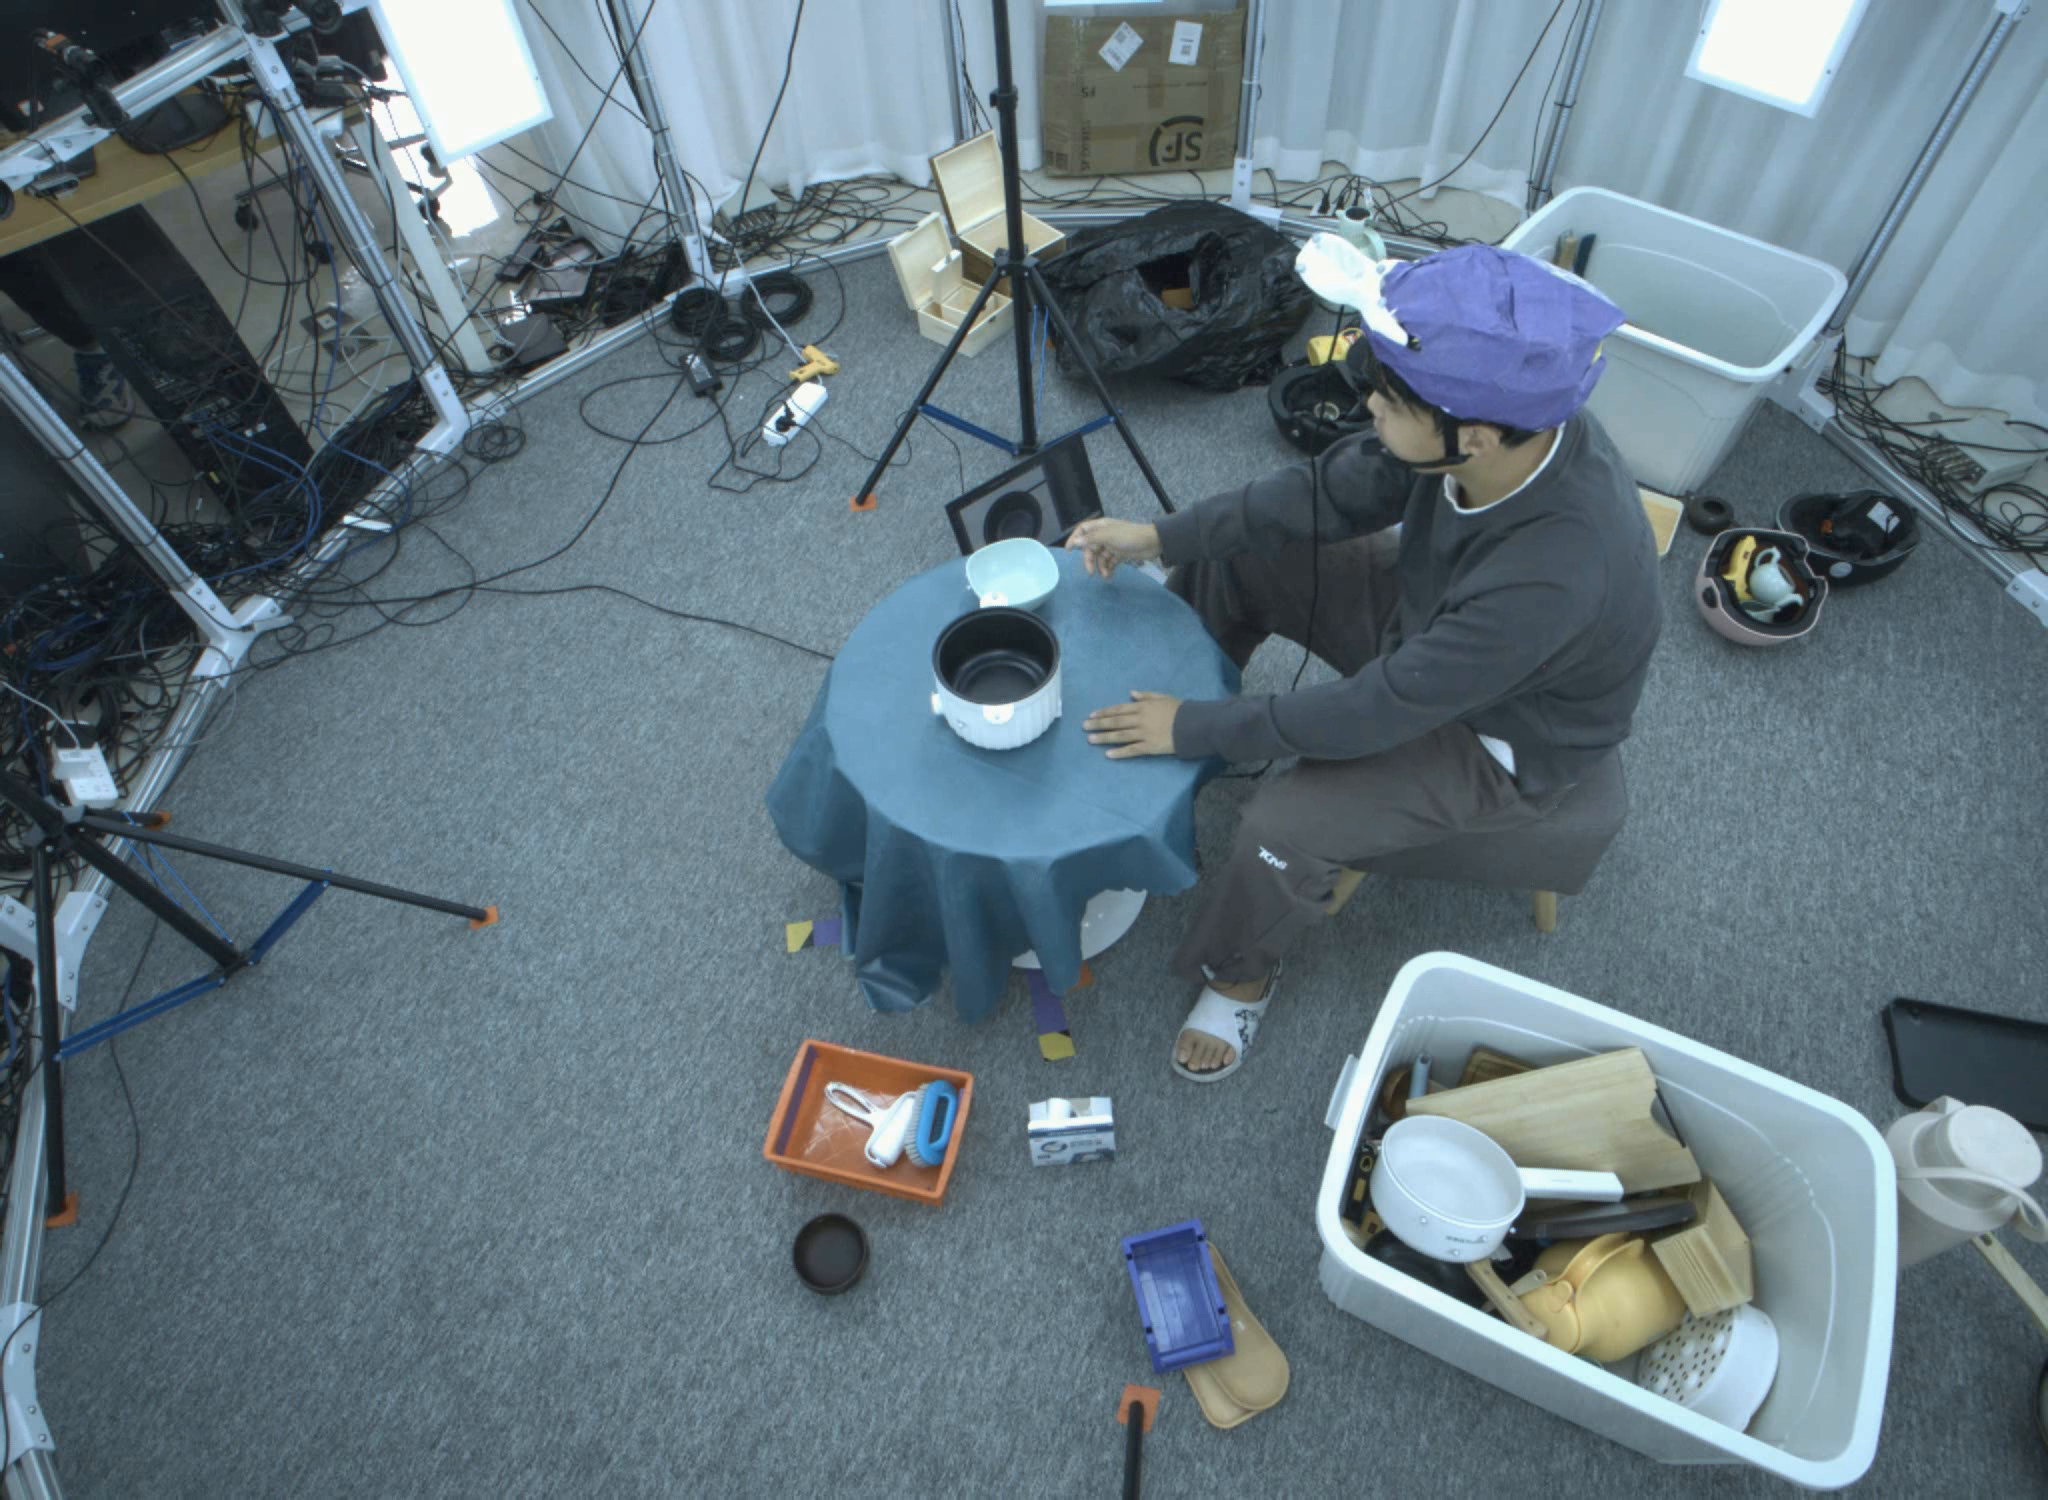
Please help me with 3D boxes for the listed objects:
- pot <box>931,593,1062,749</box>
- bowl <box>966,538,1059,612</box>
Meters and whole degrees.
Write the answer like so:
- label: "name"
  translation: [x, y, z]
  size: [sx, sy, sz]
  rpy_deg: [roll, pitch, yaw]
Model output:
- label: "pot"
  translation: [-0.040, -0.095, 1.769]
  size: [0.191, 0.144, 0.237]
  rpy_deg: [-3, 53, -4]
- label: "bowl"
  translation: [-0.017, -0.264, 1.939]
  size: [0.151, 0.059, 0.150]
  rpy_deg: [-1, 55, 3]
